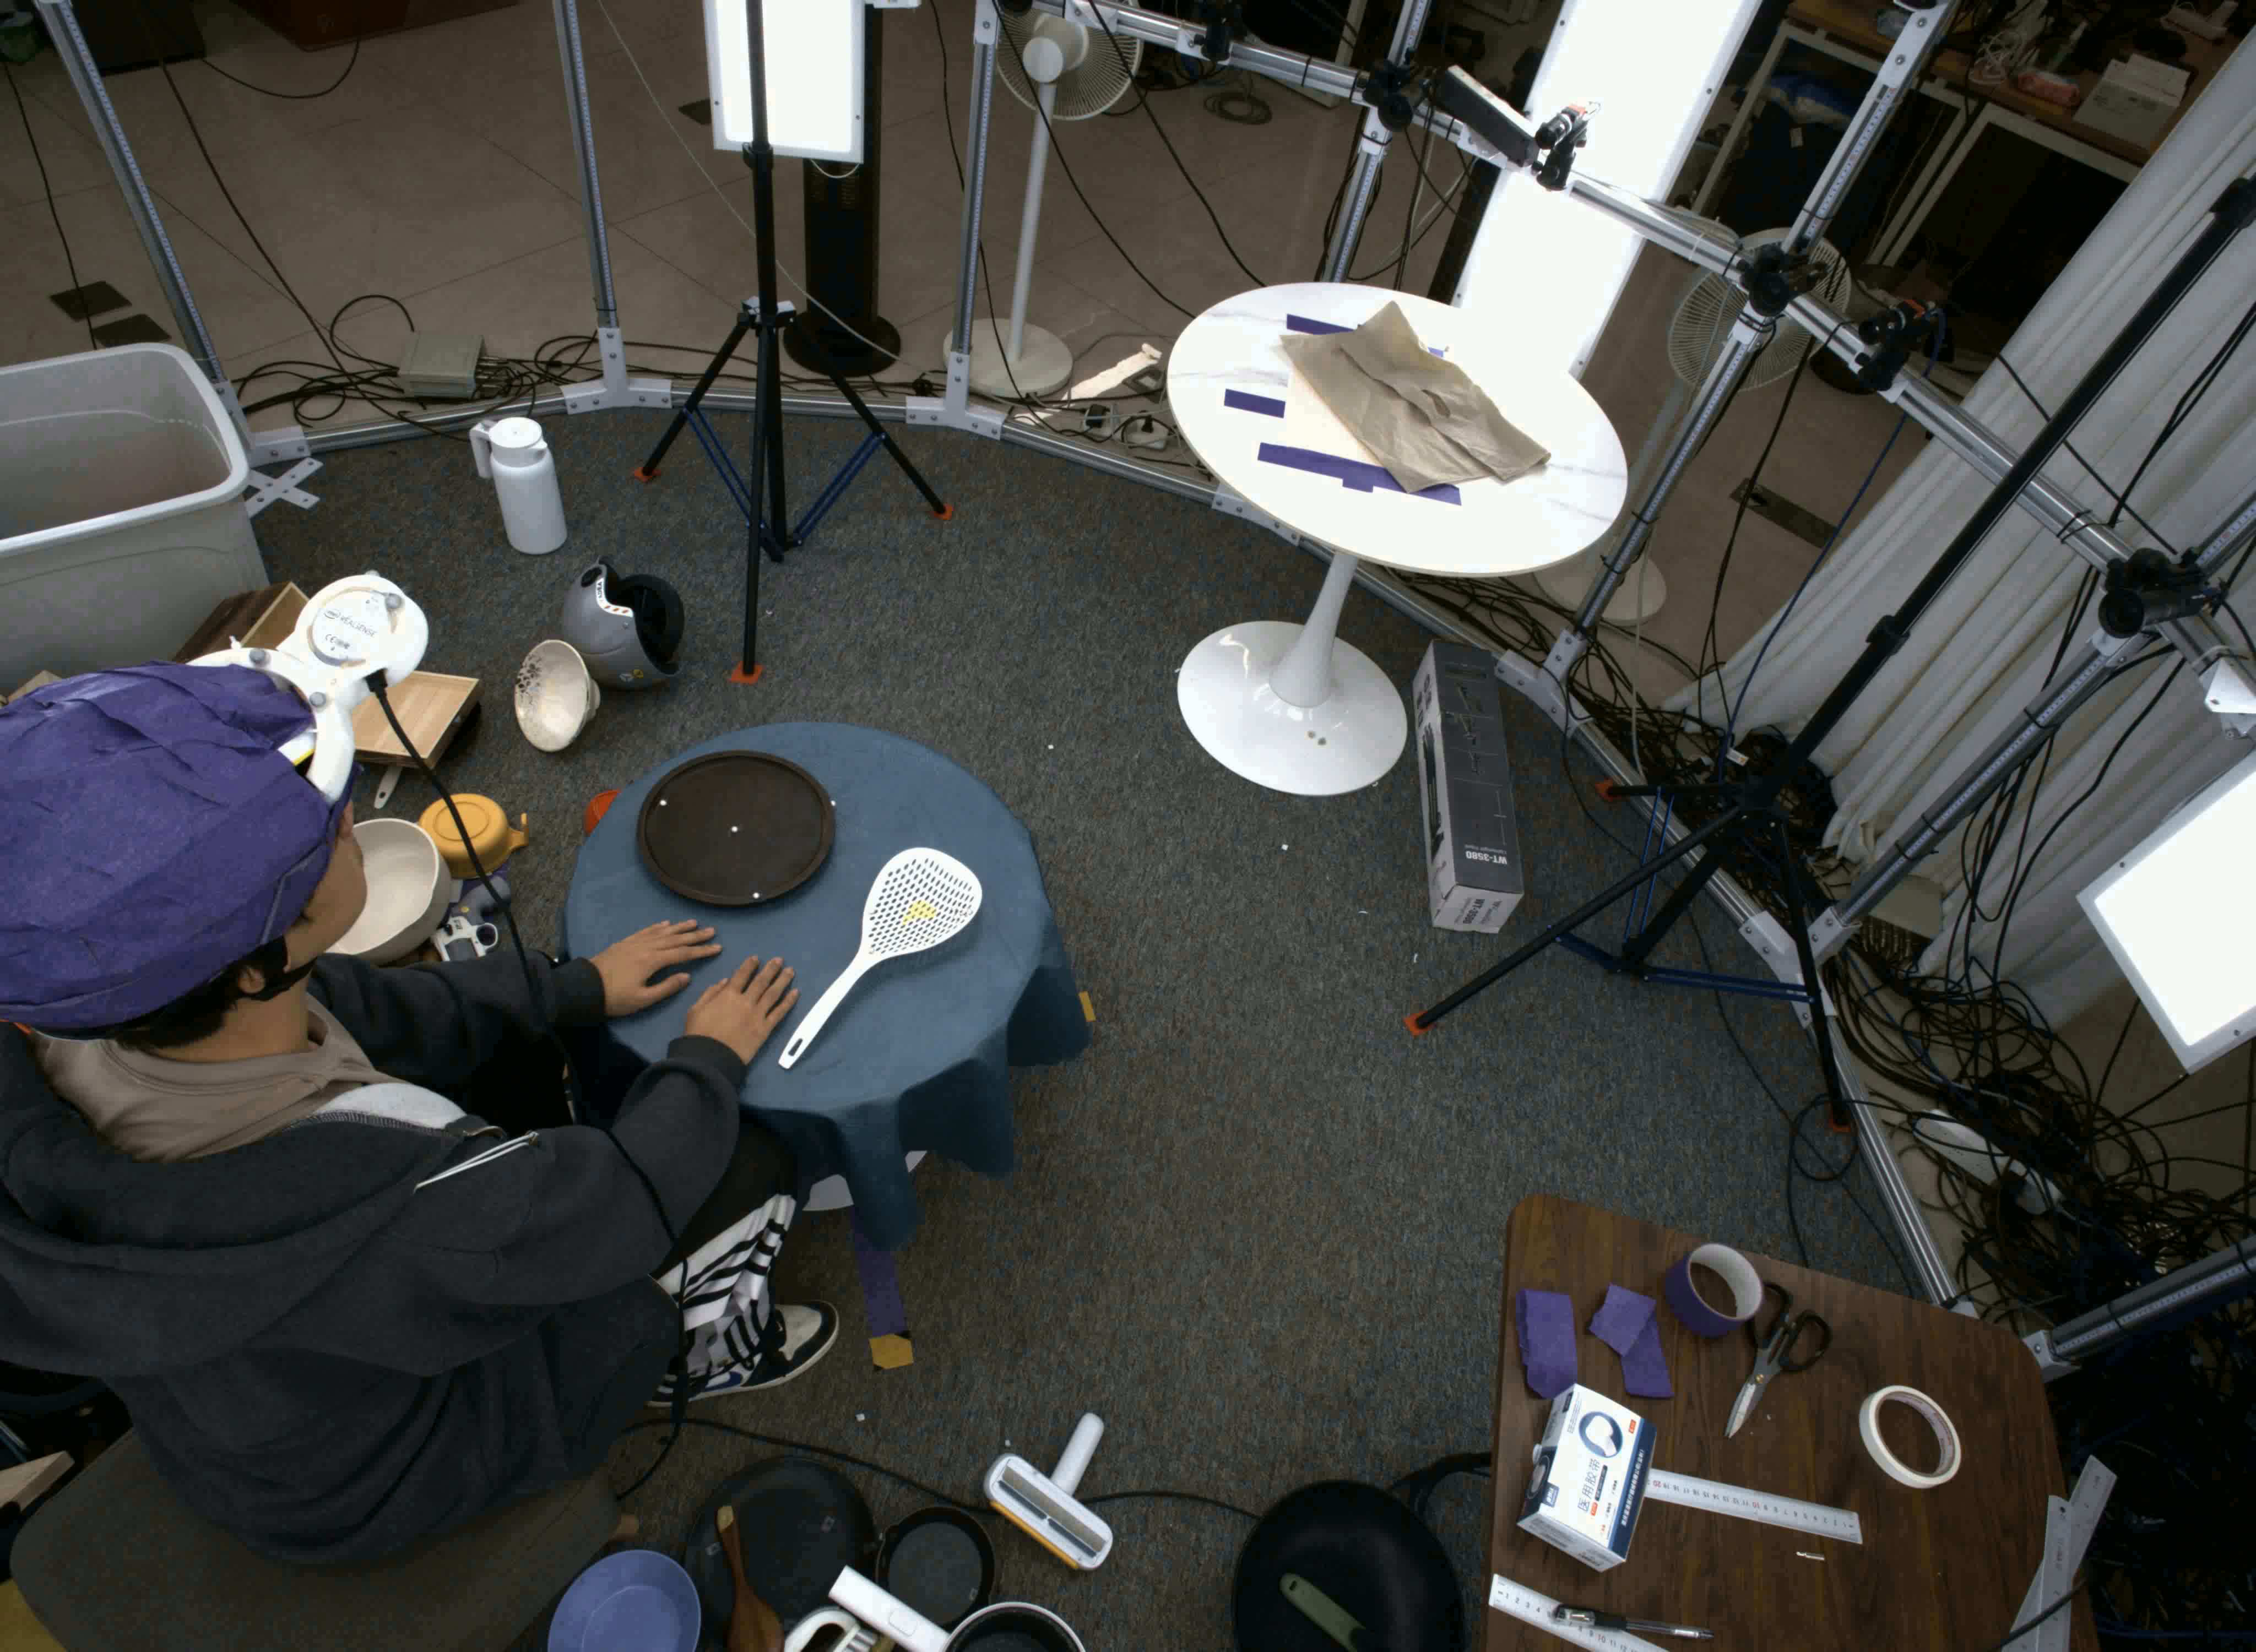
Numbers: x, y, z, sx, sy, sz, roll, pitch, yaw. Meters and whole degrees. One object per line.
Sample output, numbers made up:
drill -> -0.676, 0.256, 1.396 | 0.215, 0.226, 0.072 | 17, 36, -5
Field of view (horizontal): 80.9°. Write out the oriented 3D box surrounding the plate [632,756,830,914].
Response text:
plate -> -0.517, 0.009, 1.683 | 0.254, 0.029, 0.250 | 8, 53, -9

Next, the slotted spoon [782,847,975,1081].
slotted spoon -> -0.321, 0.165, 1.605 | 0.135, 0.051, 0.346 | 32, 53, 7
